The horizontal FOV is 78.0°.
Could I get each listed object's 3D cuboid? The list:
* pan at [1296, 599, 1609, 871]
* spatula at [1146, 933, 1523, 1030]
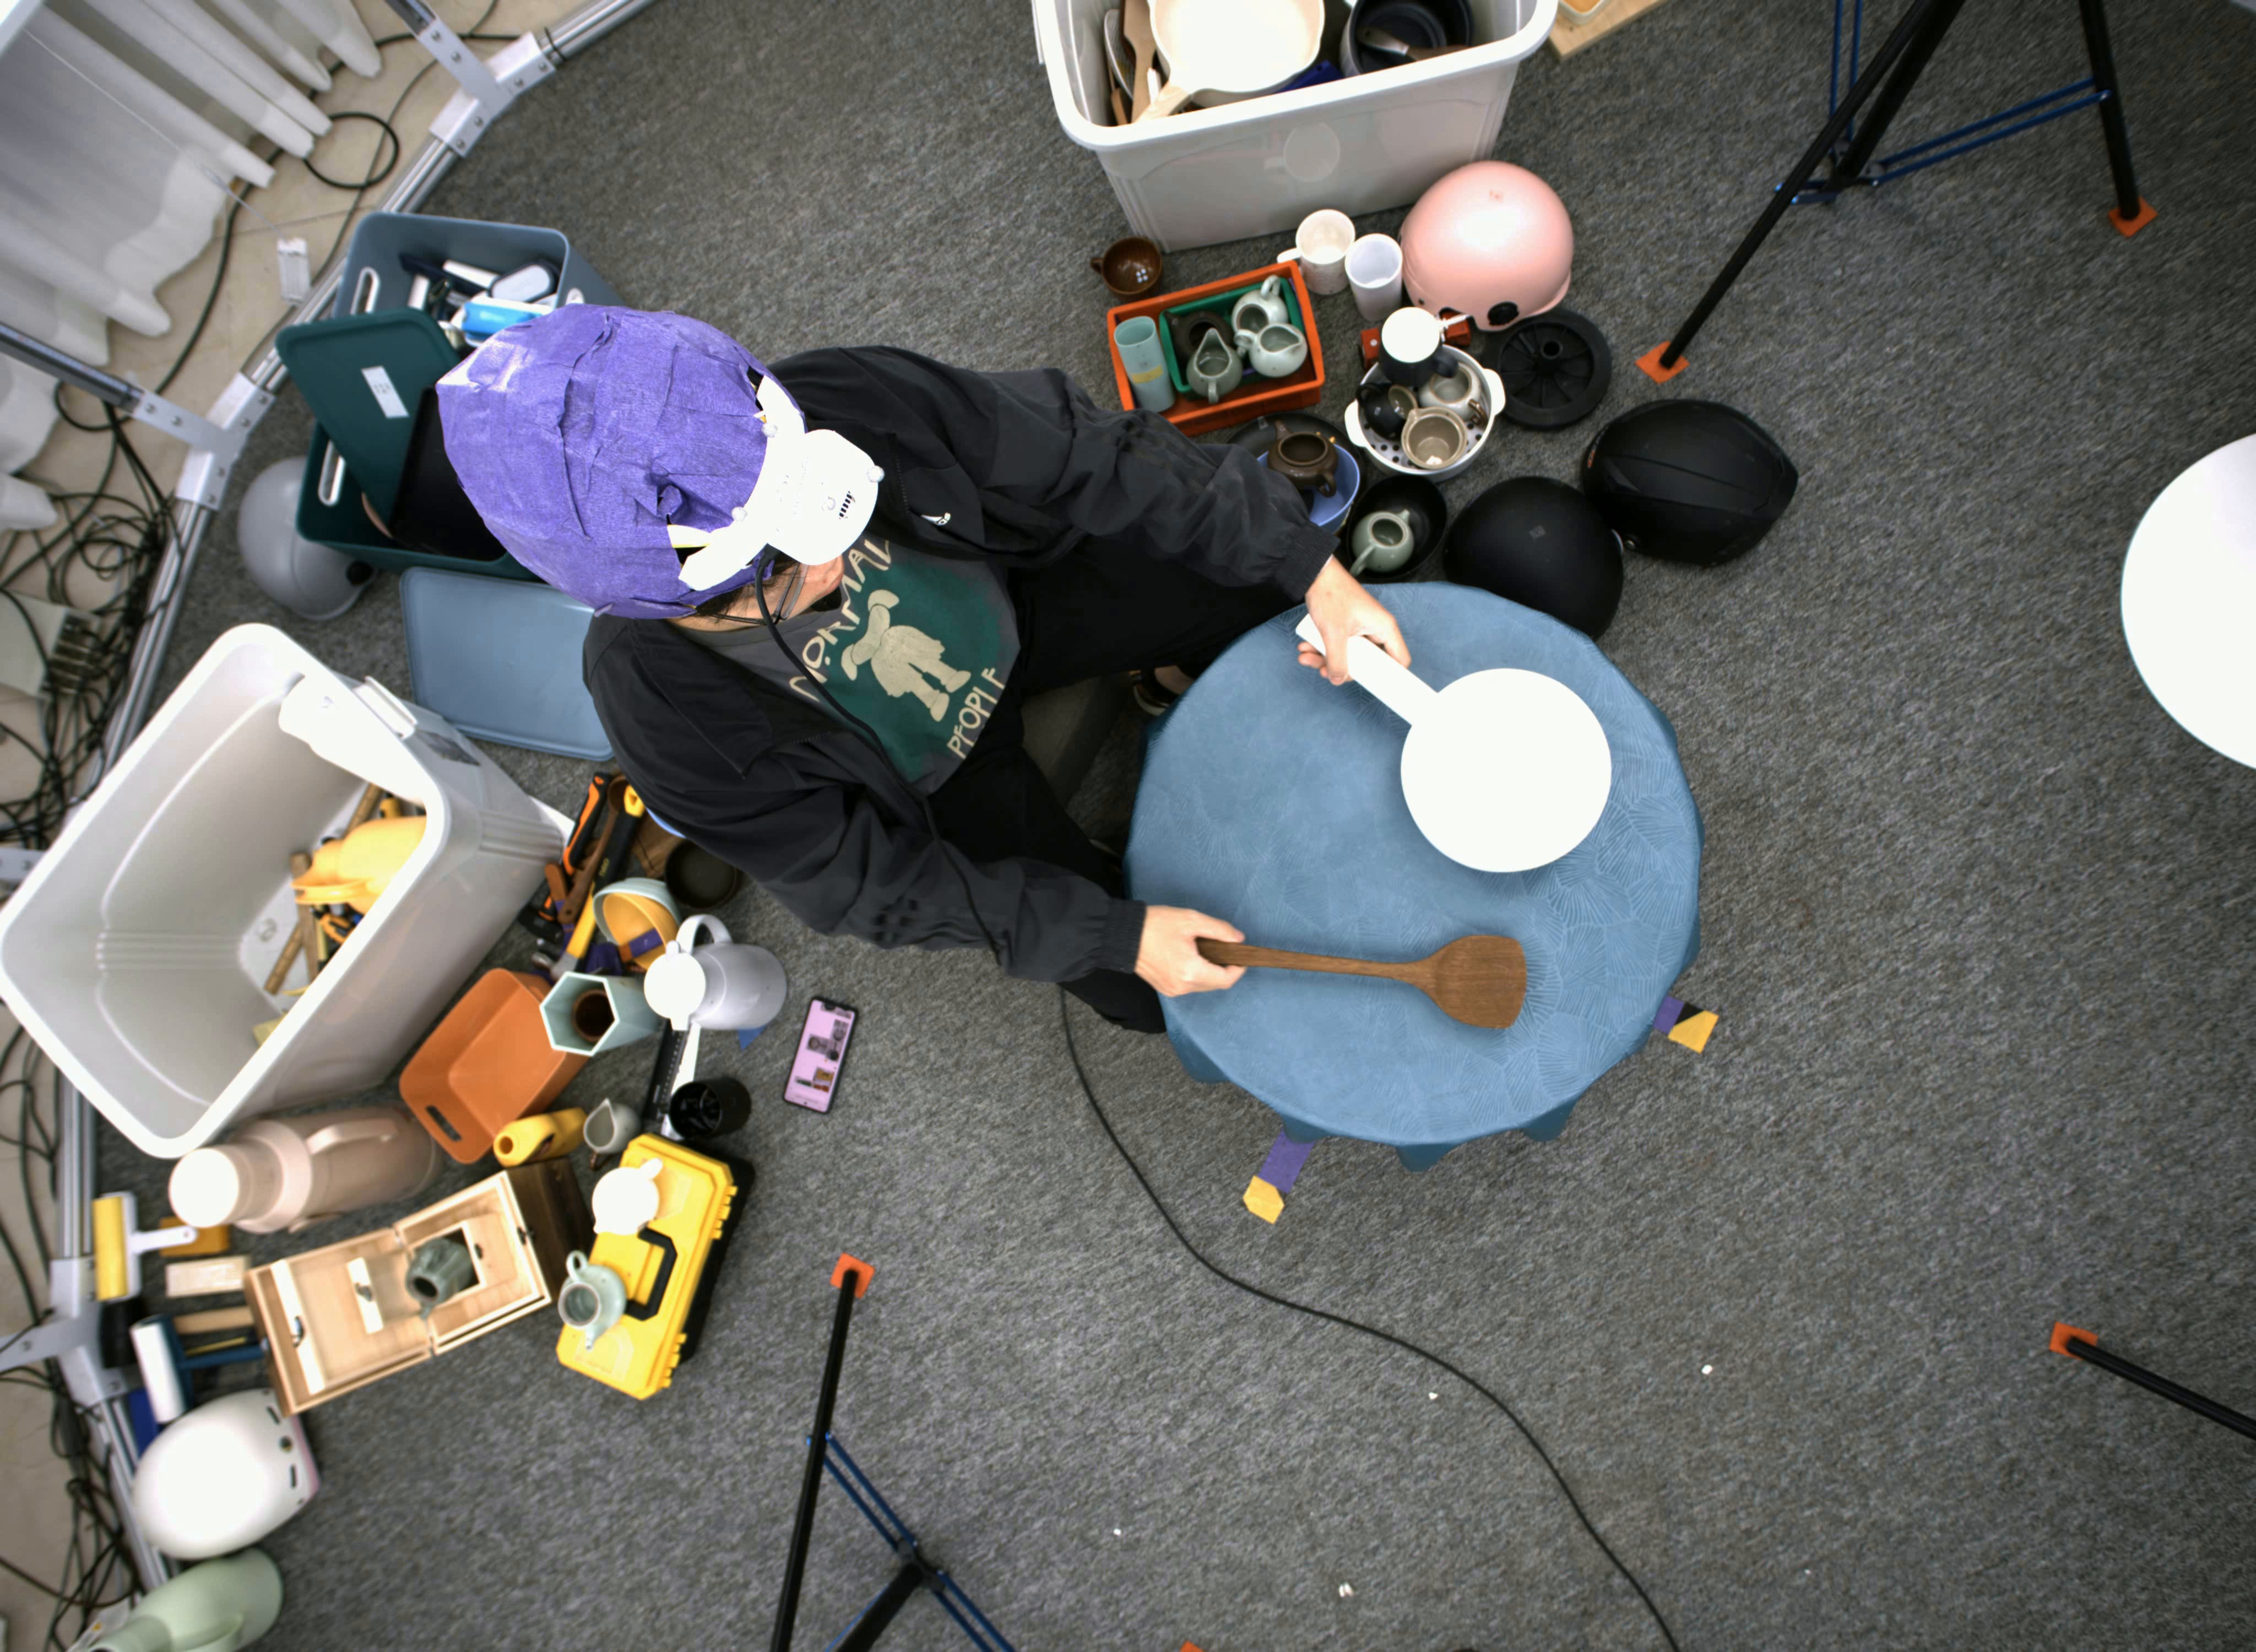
[{"bbox_3d":[0.322,-0.103,1.408,0.353,0.102,0.202,40,97,12],"label":"pan"},{"bbox_3d":[0.208,0.141,1.421,0.387,0.016,0.096,5,90,9],"label":"spatula"}]
